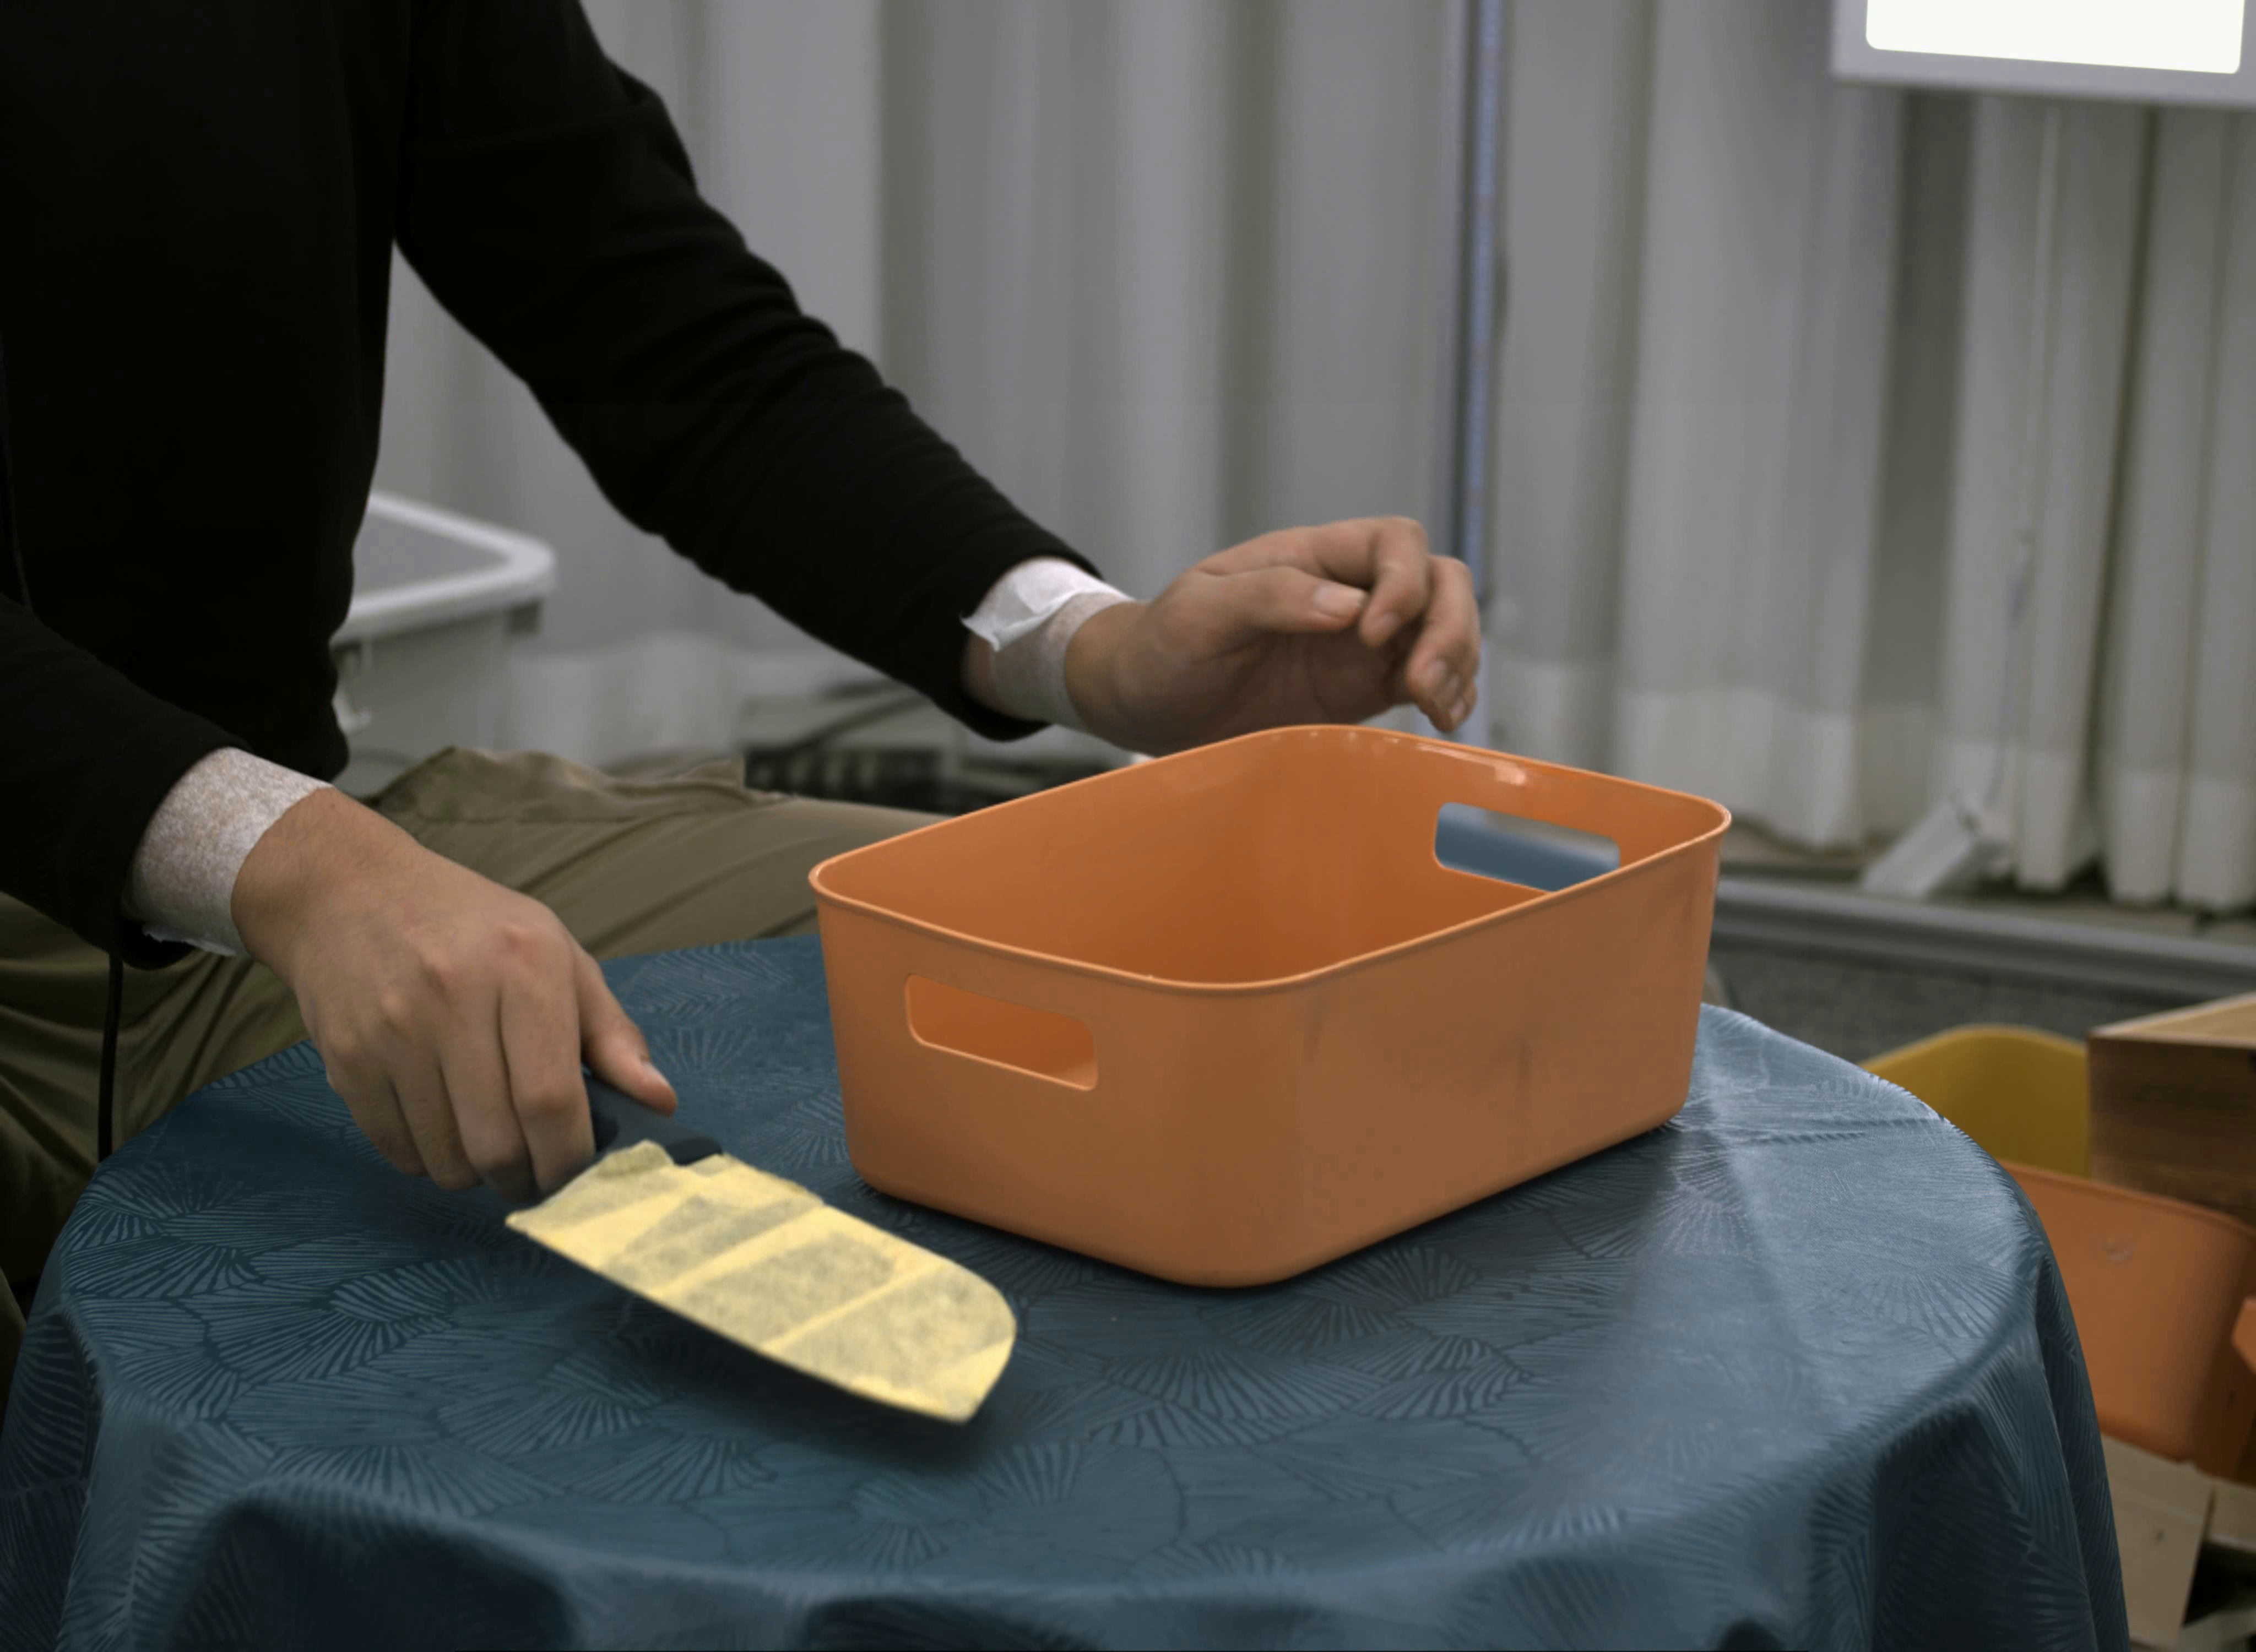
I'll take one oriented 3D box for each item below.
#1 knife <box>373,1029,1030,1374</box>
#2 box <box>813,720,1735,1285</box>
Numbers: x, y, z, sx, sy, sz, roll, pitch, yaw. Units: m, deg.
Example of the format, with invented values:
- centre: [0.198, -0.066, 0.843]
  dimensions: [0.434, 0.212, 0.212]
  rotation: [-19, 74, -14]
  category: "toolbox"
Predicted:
- centre: [-0.133, 0.108, 1.501]
  dimensions: [0.081, 0.027, 0.285]
  rotation: [-15, 26, -42]
  category: "knife"
- centre: [0.046, 0.051, 1.647]
  dimensions: [0.197, 0.103, 0.274]
  rotation: [14, 21, 39]
  category: "box"
